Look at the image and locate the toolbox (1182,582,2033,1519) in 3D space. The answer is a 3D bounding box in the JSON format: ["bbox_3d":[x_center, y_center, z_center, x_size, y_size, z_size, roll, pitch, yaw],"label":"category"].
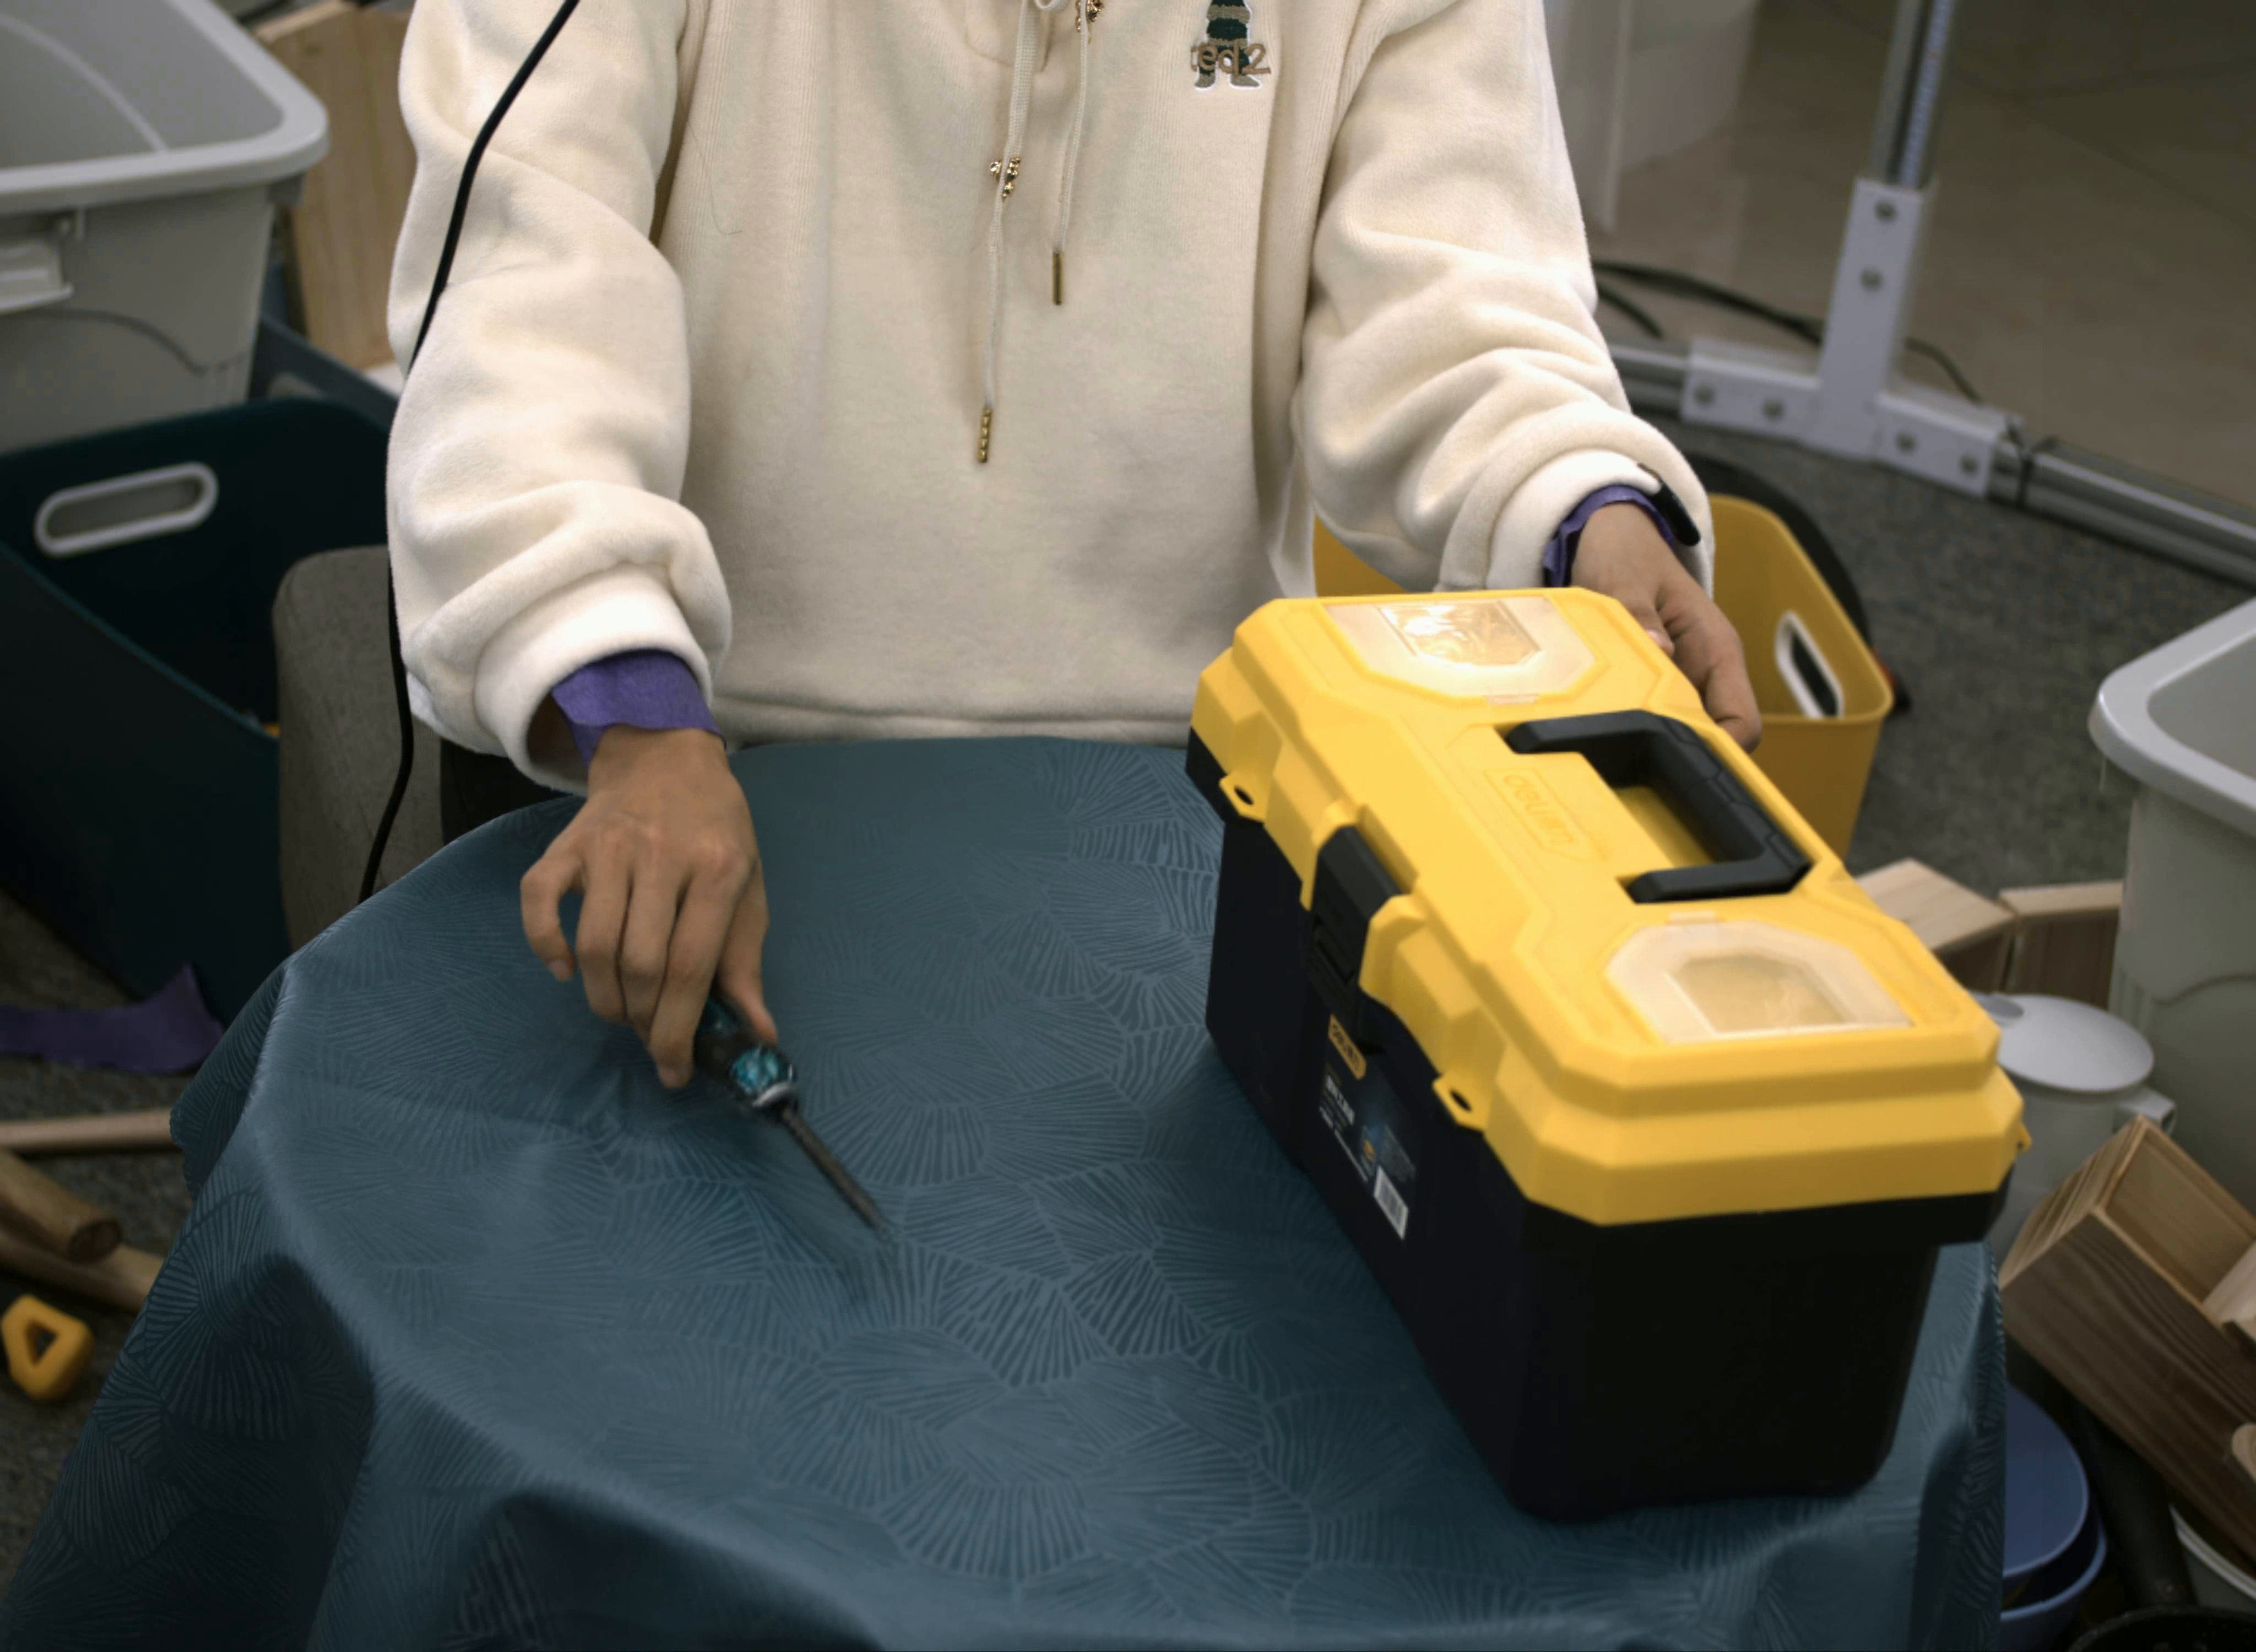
[{"bbox_3d":[0.144,0.066,1.755,0.180,0.172,0.354,-3,28,-18],"label":"toolbox"}]

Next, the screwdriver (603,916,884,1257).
[{"bbox_3d":[-0.128,0.090,1.796,0.033,0.033,0.192,-10,36,-30],"label":"screwdriver"}]
